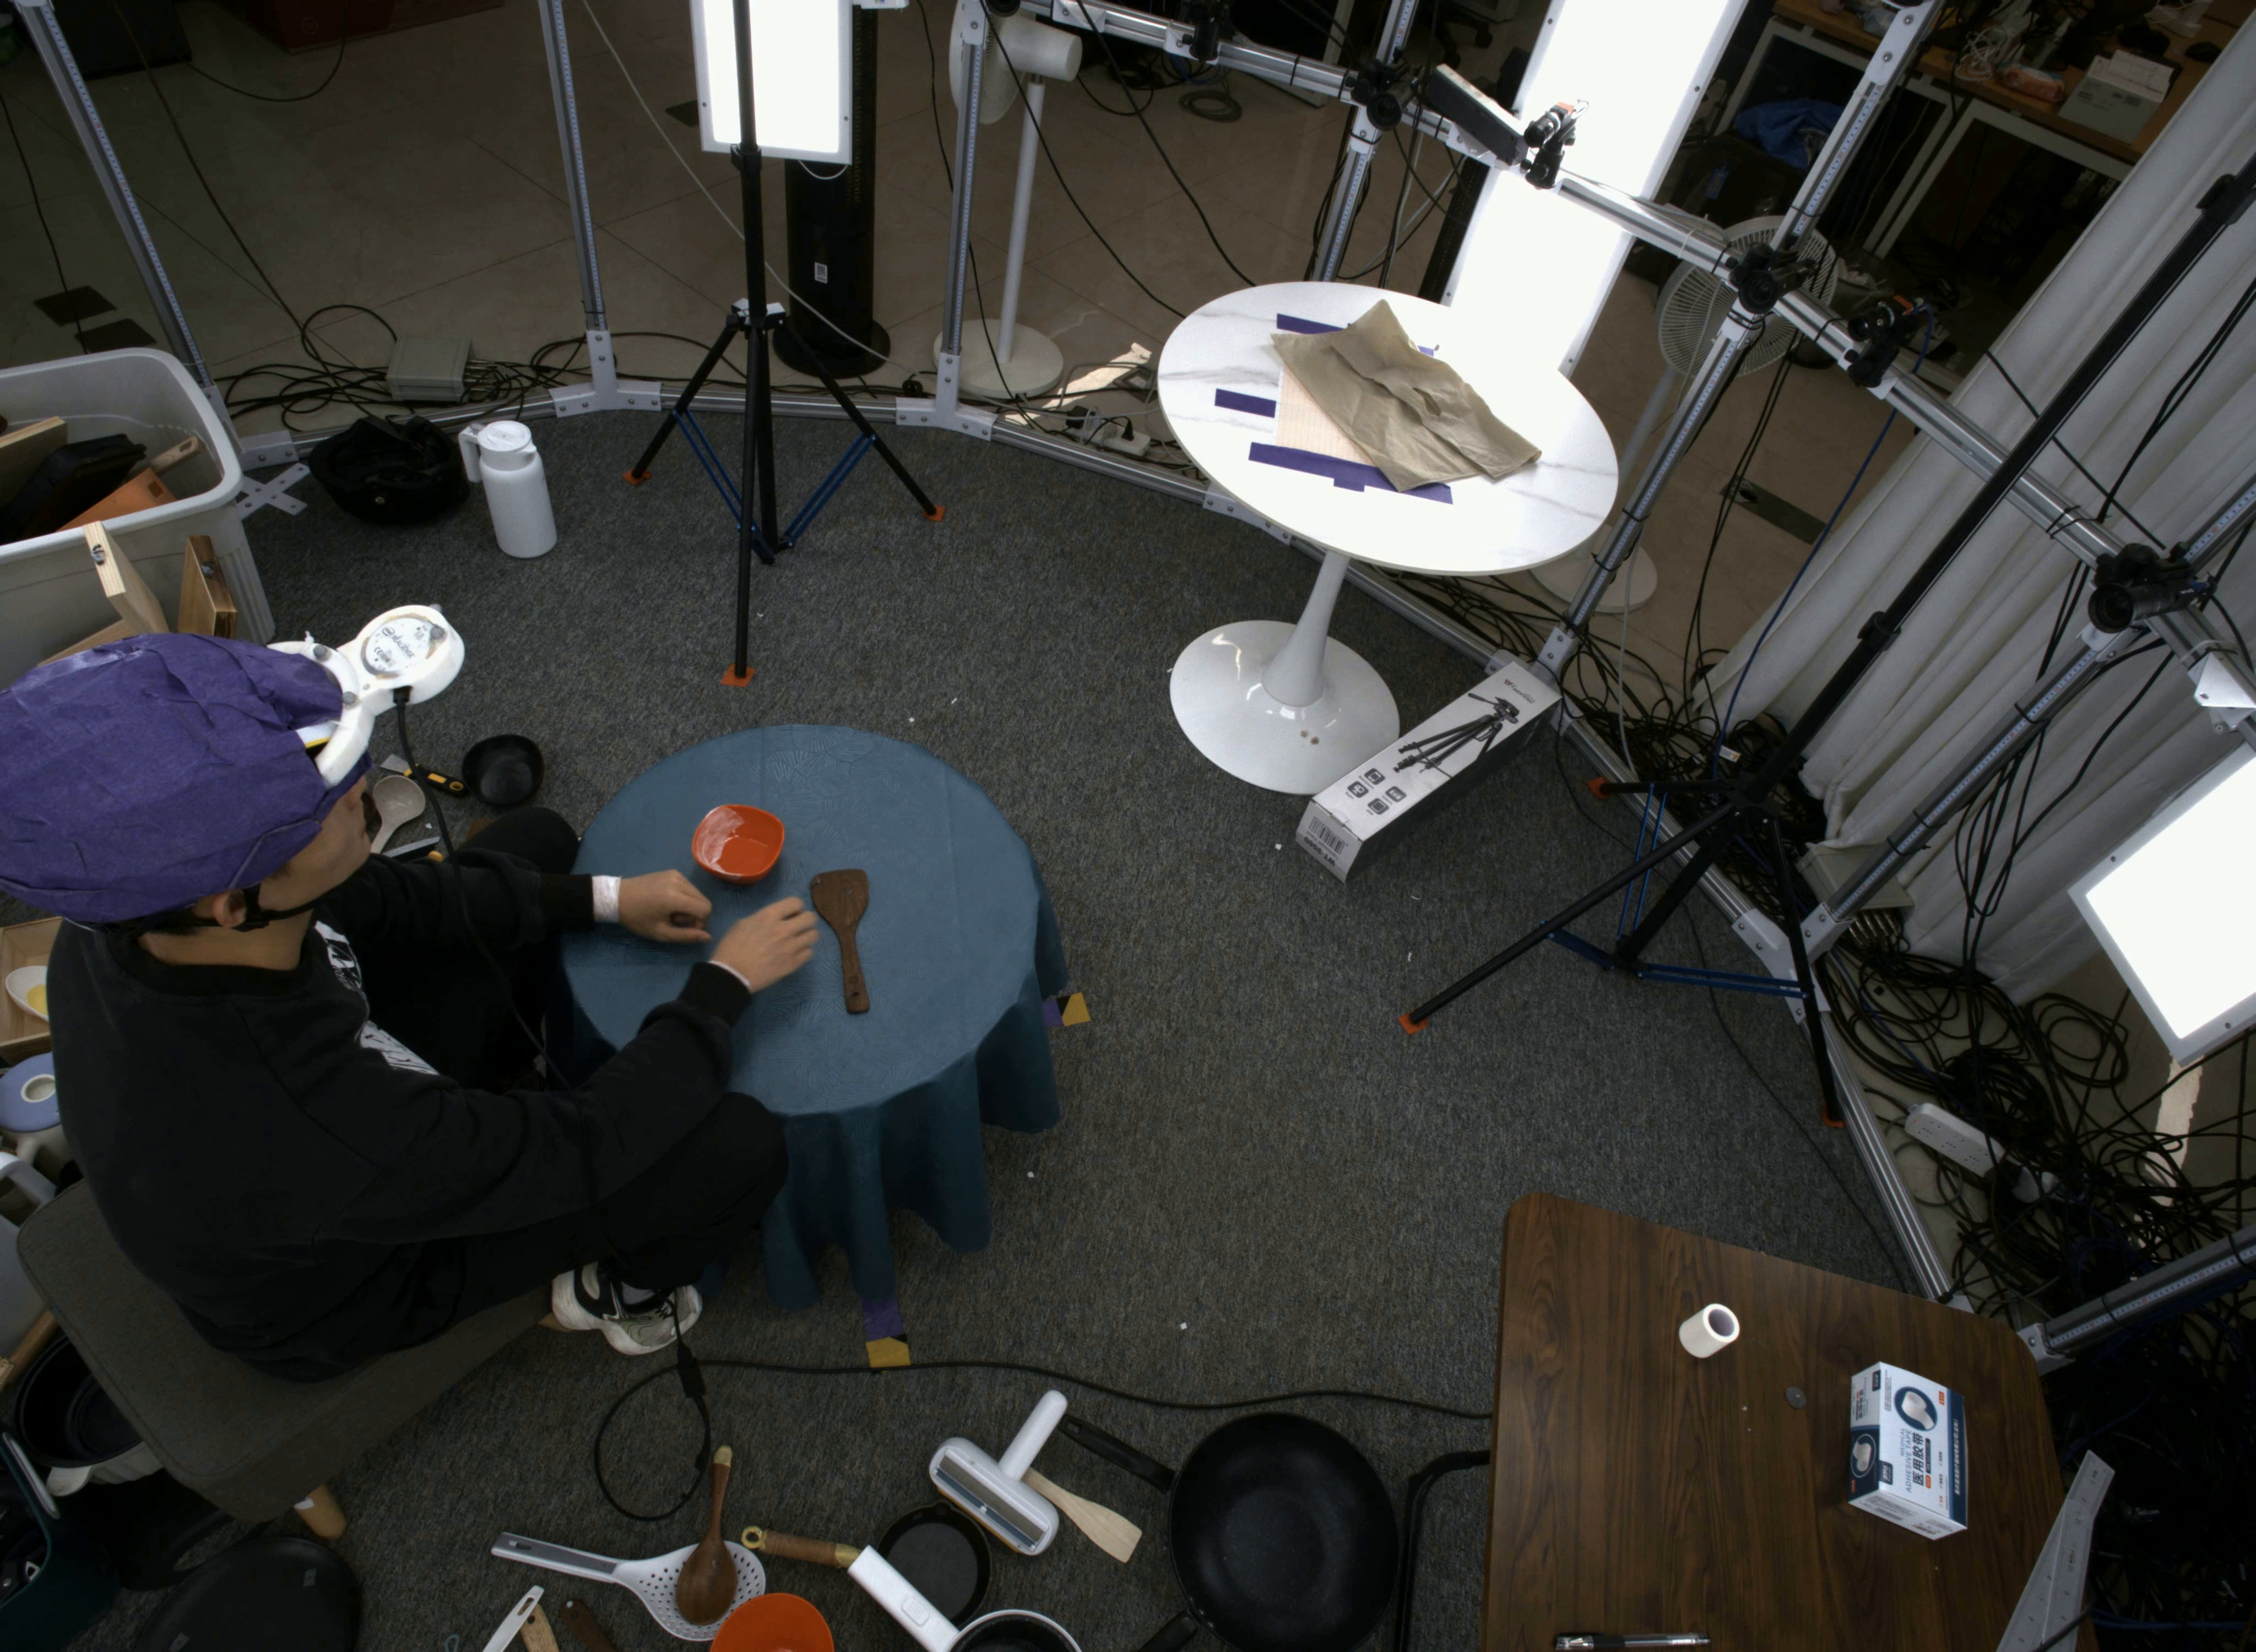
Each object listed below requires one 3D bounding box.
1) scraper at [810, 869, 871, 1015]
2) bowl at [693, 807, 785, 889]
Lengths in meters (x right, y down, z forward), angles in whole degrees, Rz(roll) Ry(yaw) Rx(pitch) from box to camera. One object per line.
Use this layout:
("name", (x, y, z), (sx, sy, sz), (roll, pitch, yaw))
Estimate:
("scraper", (-0.352, 0.142, 1.636), (0.076, 0.011, 0.206), (-6, 56, -17))
("bowl", (-0.498, 0.035, 1.656), (0.119, 0.052, 0.117), (9, 54, -11))
